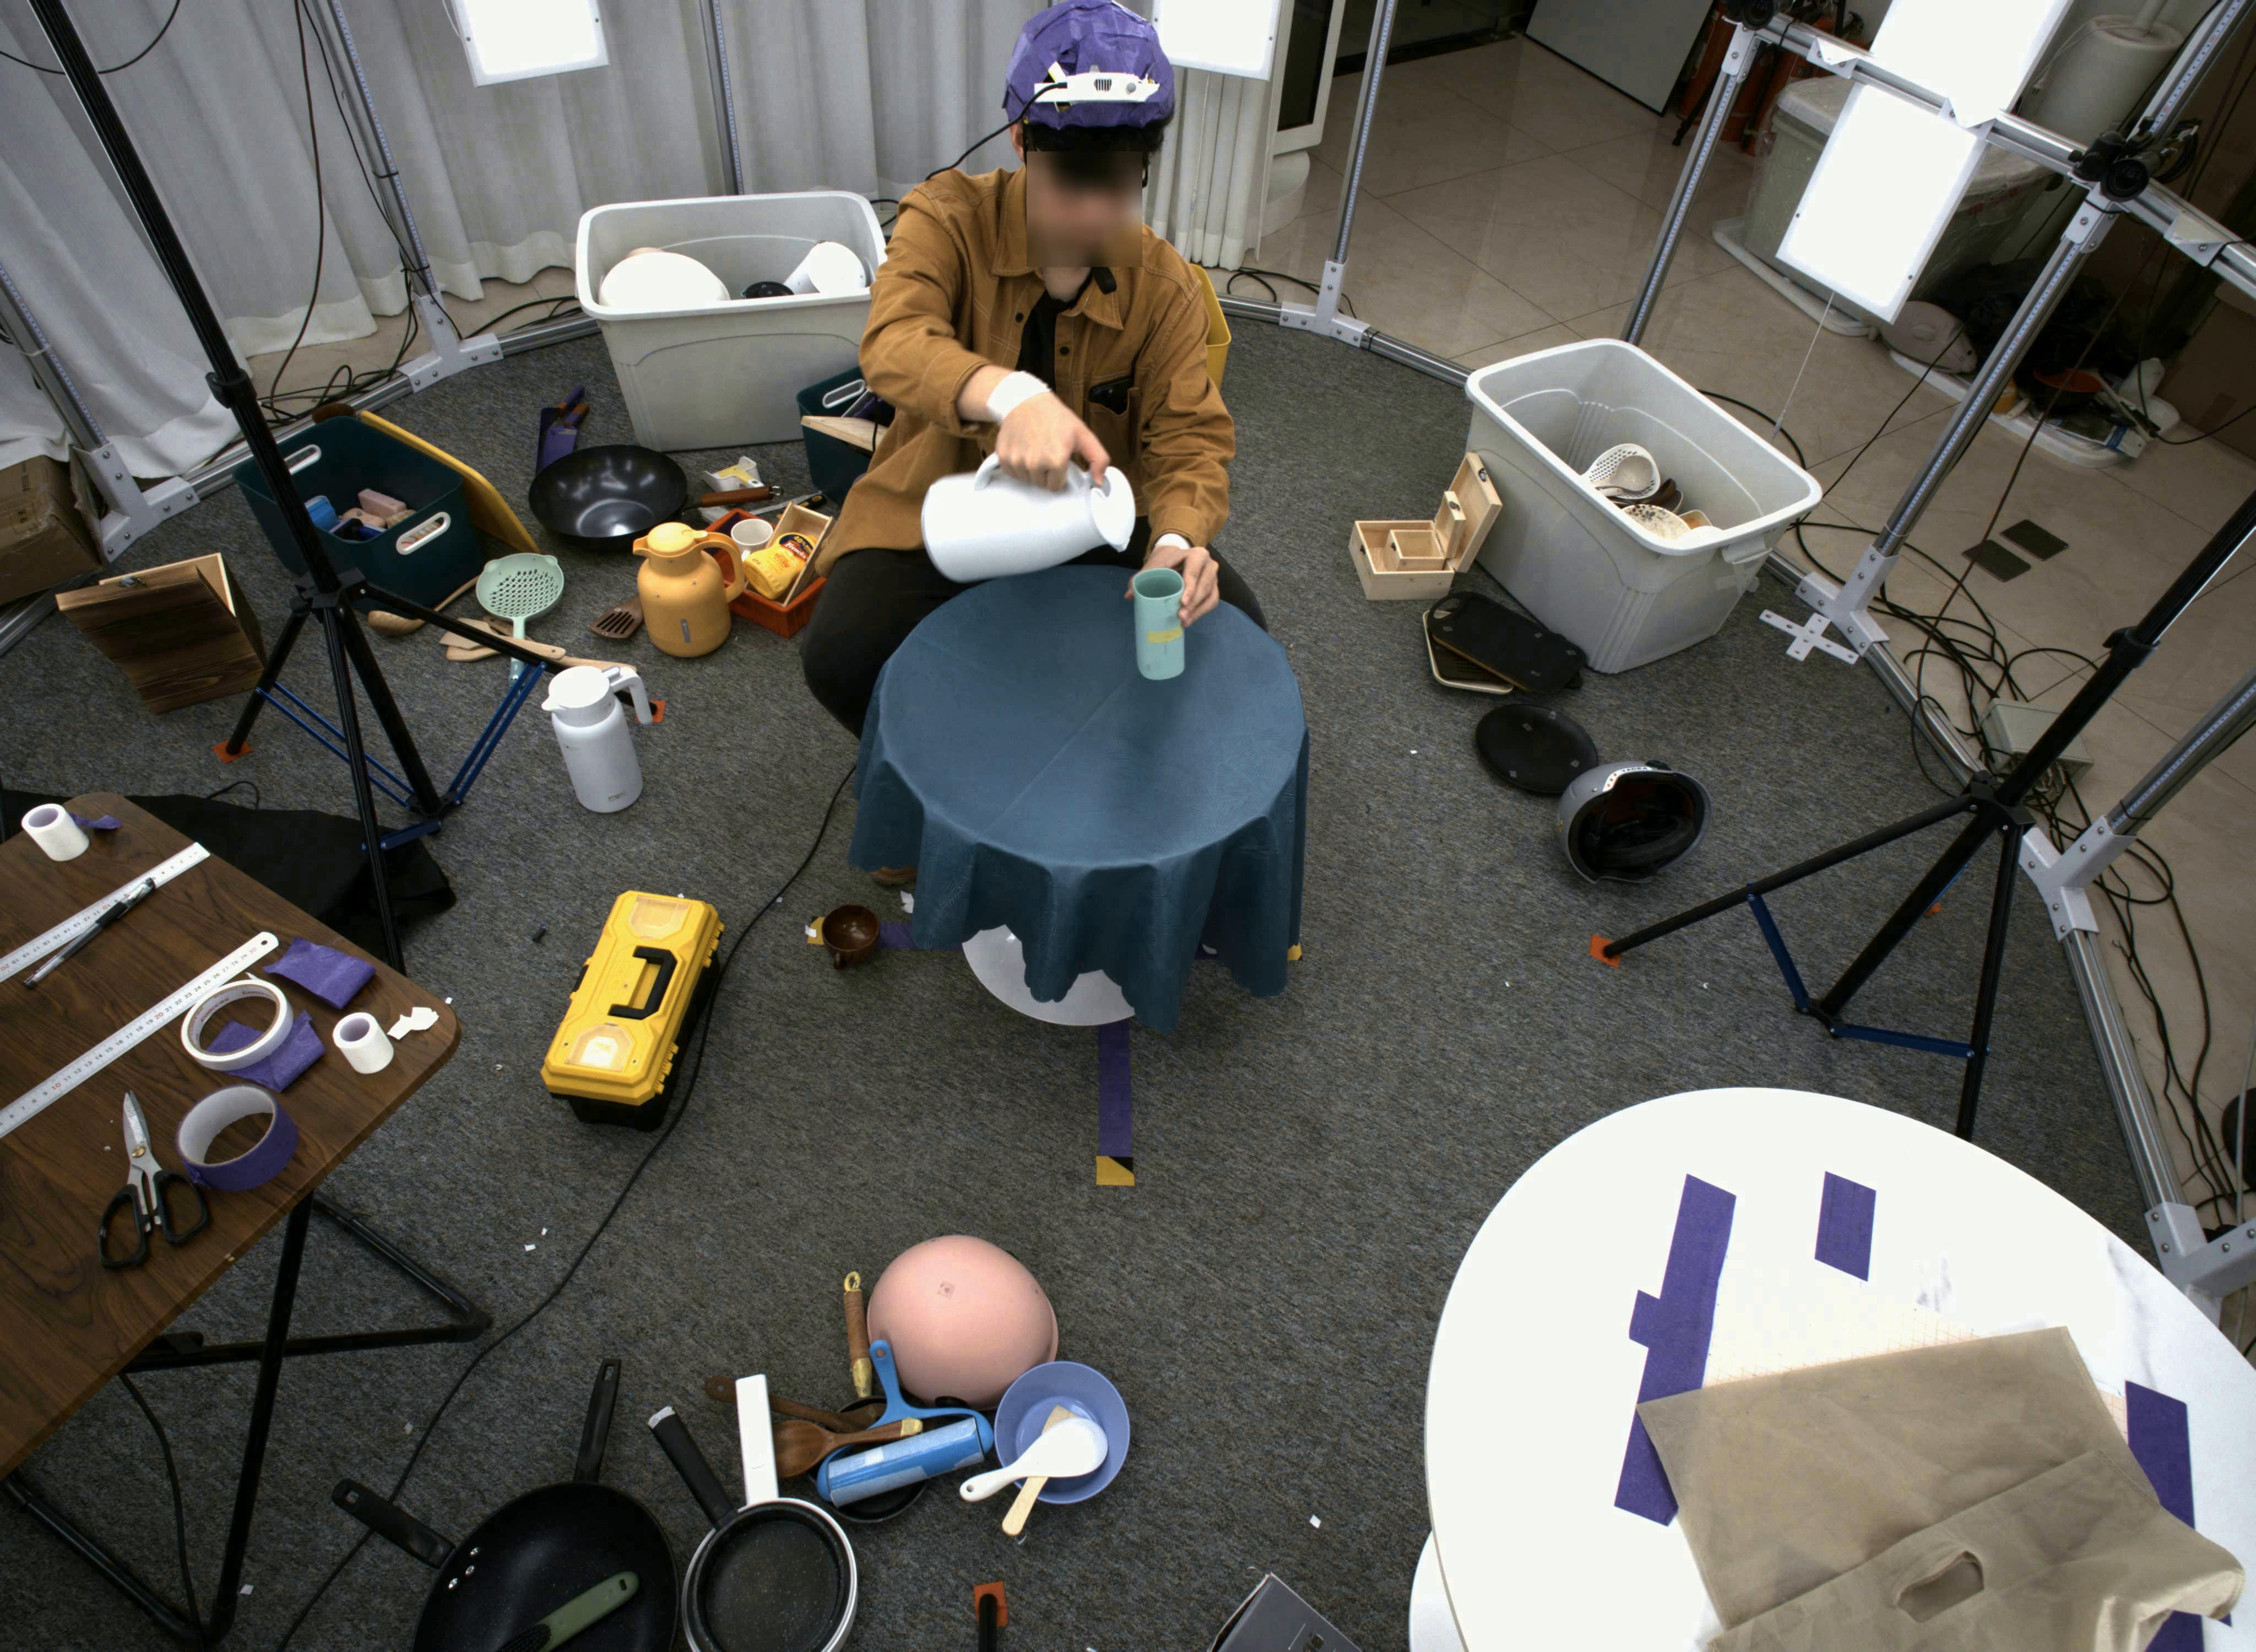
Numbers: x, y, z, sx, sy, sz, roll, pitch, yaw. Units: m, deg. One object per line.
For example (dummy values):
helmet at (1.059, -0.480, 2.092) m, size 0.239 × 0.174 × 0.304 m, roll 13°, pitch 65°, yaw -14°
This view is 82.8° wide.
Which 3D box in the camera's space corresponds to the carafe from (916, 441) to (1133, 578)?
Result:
carafe at (-0.125, -0.382, 1.532) m, size 0.249 × 0.164 × 0.135 m, roll 2°, pitch 57°, yaw 33°

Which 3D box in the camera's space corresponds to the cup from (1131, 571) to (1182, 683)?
cup at (0.037, -0.253, 1.630) m, size 0.067 × 0.129 × 0.068 m, roll -2°, pitch 45°, yaw 2°
